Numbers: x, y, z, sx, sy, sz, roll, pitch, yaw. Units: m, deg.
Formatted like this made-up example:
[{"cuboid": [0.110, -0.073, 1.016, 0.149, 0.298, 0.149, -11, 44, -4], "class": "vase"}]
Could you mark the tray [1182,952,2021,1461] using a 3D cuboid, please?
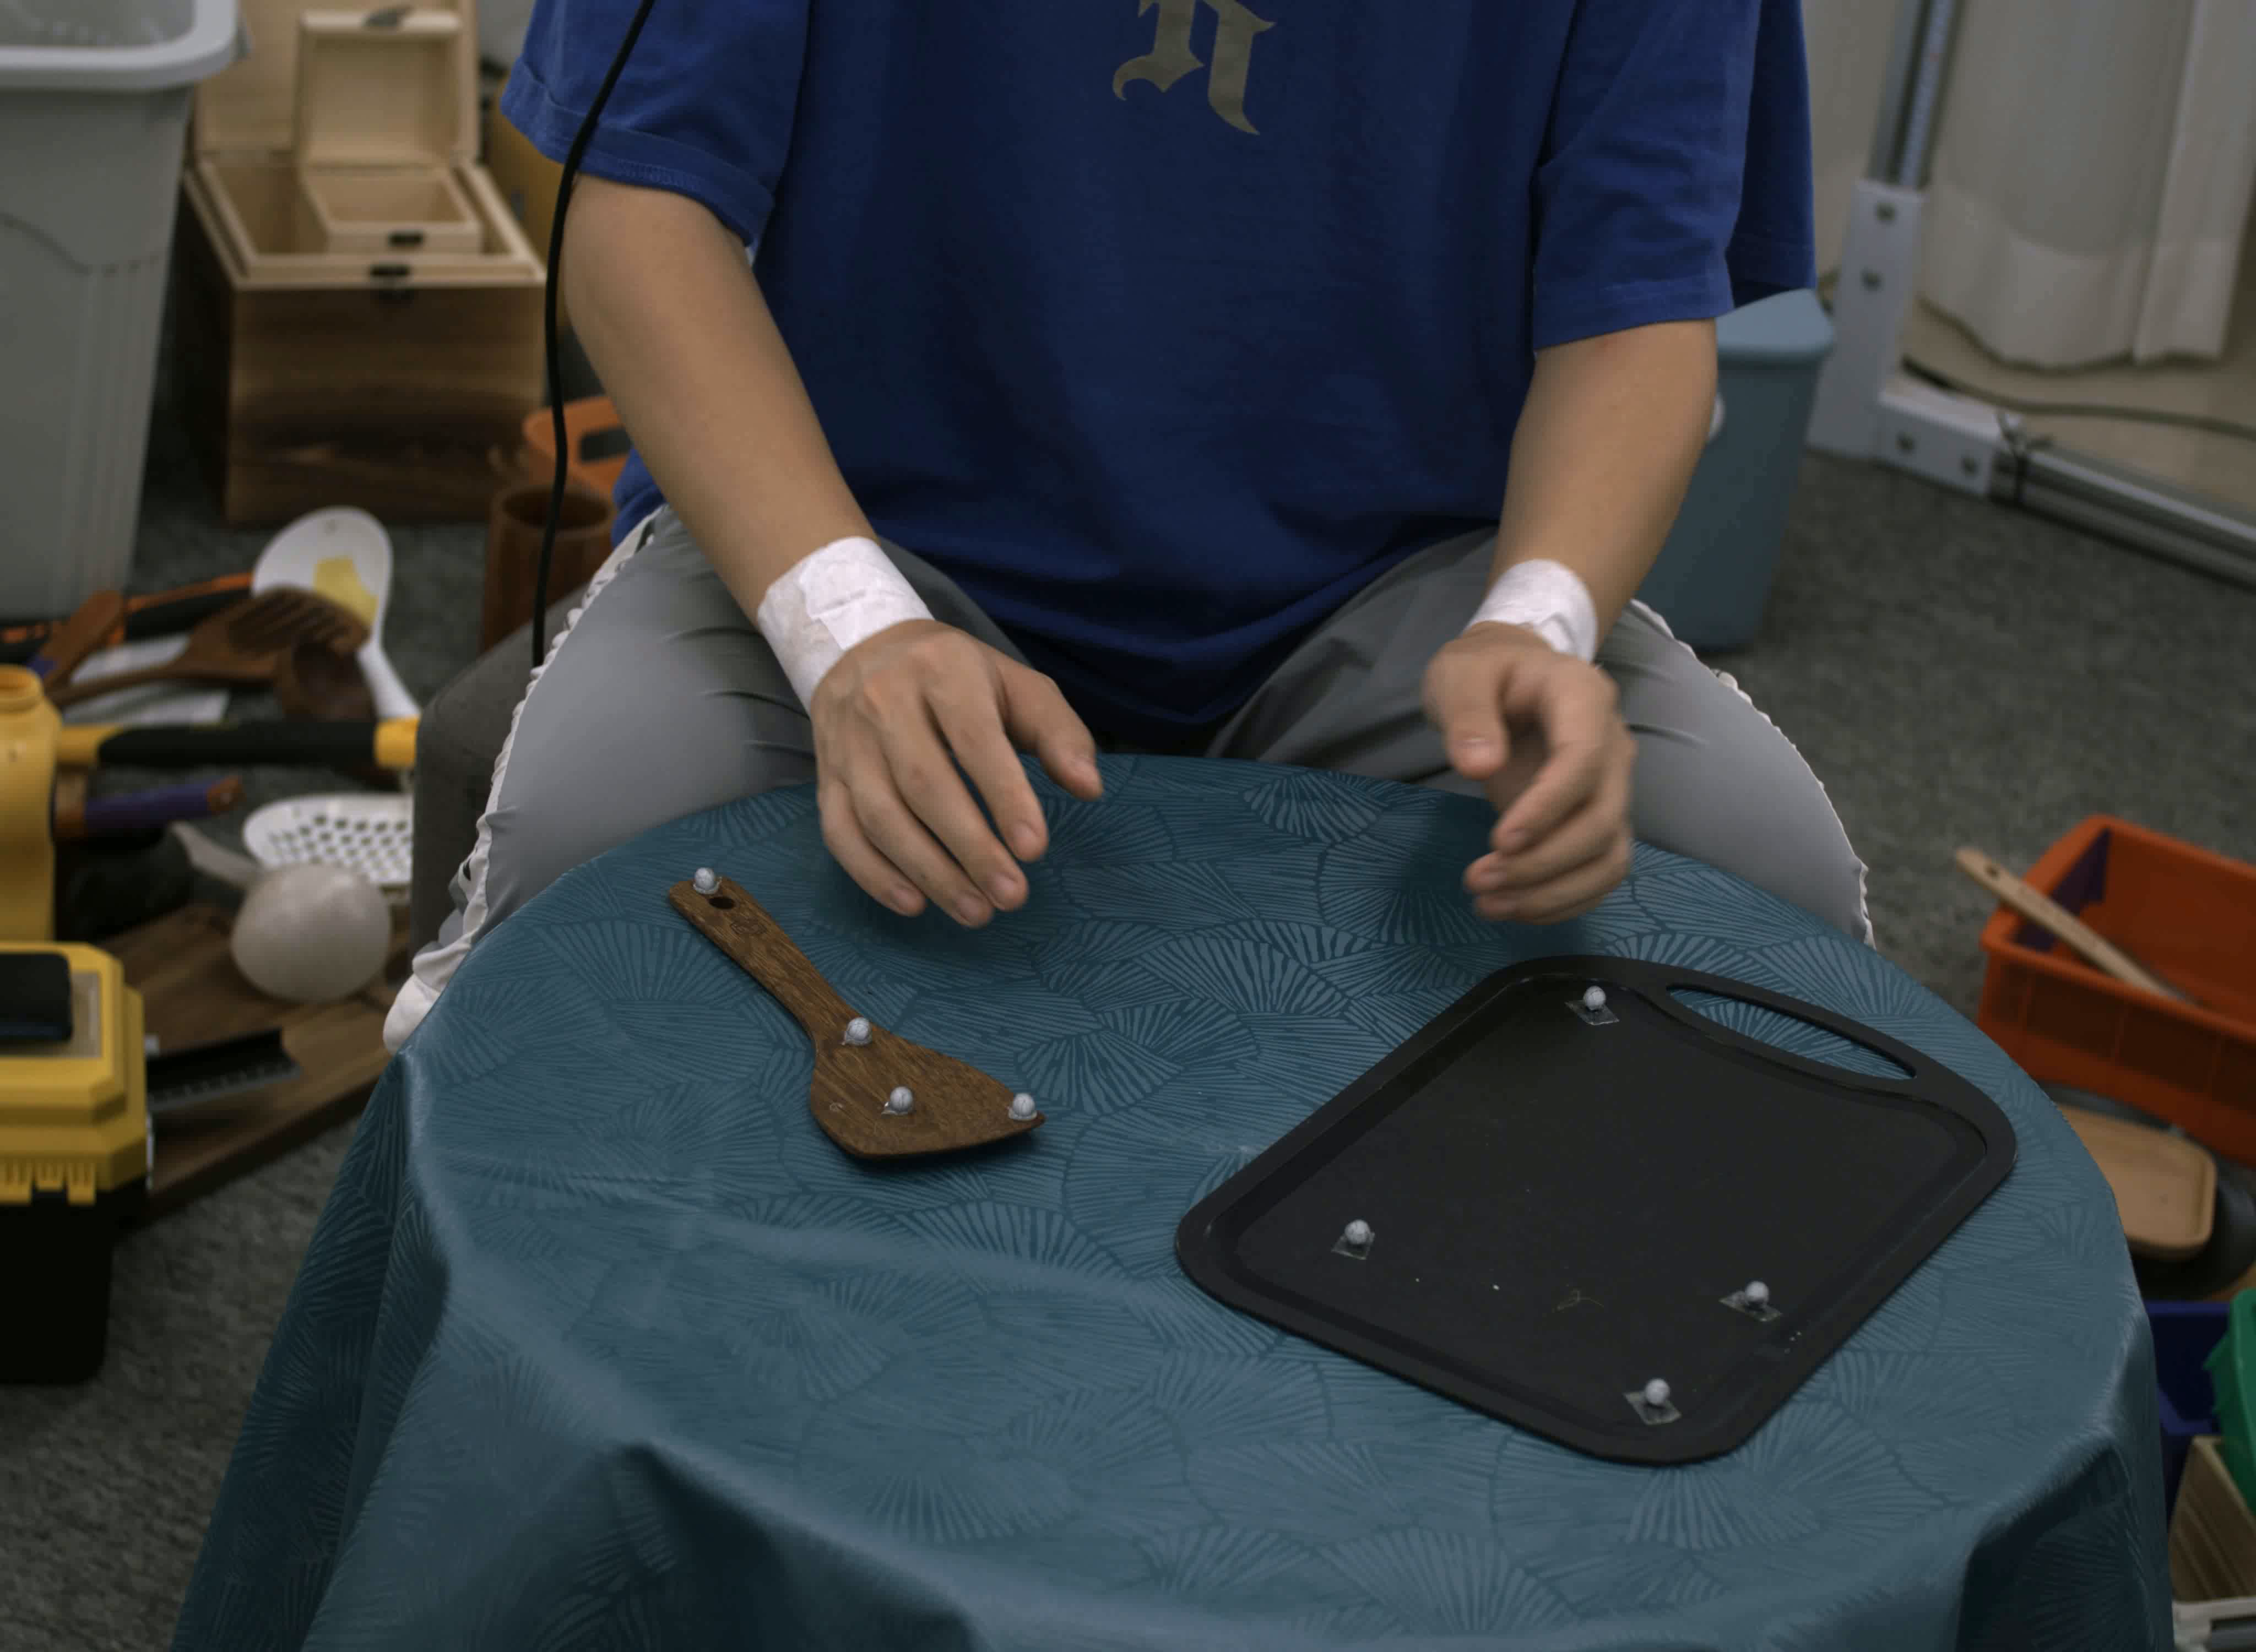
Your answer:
[{"cuboid": [0.172, 0.120, 1.842, 0.212, 0.010, 0.324, 21, 30, 26], "class": "tray"}]

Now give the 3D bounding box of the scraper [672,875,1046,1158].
[{"cuboid": [-0.107, 0.066, 1.883, 0.075, 0.011, 0.213, -8, 30, -29], "class": "scraper"}]
